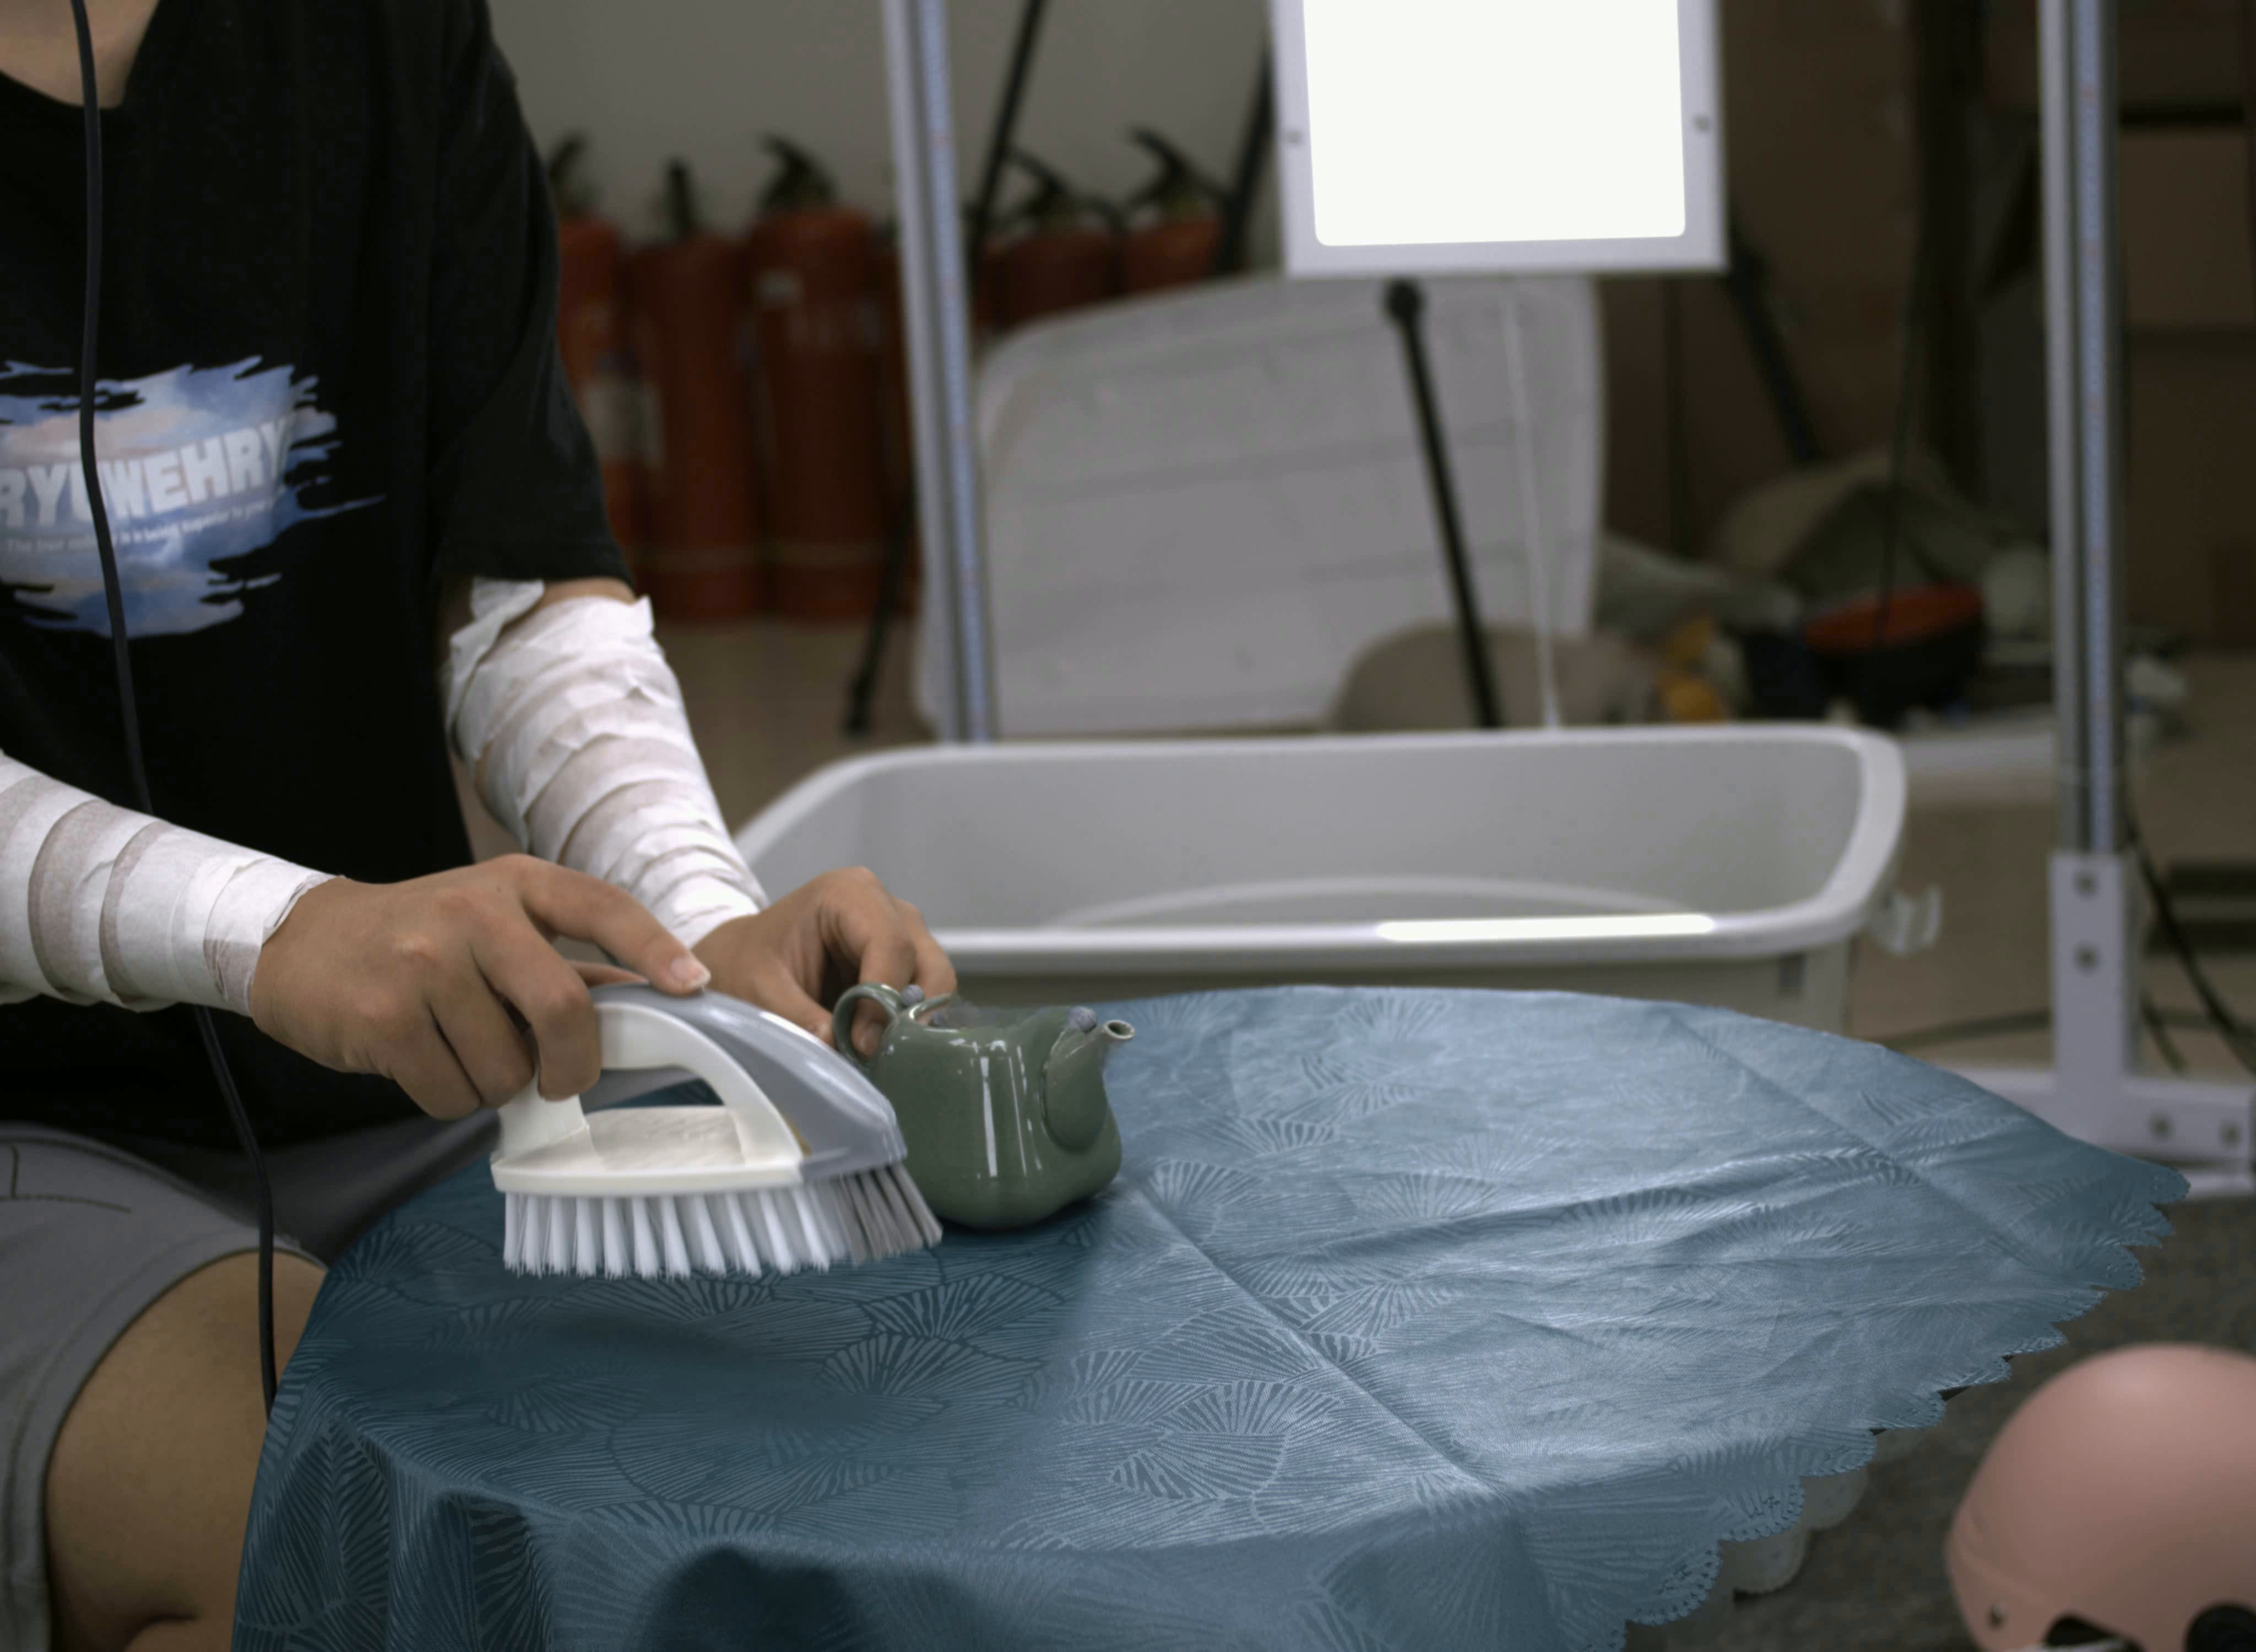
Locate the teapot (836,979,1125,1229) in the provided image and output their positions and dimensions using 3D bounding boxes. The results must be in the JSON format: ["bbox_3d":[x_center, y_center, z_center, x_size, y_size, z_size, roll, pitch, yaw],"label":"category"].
[{"bbox_3d":[-0.049,0.094,1.895,0.135,0.075,0.077,6,15,43],"label":"teapot"}]

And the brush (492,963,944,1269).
[{"bbox_3d":[-0.134,0.088,1.753,0.179,0.094,0.060,0,22,42],"label":"brush"}]
